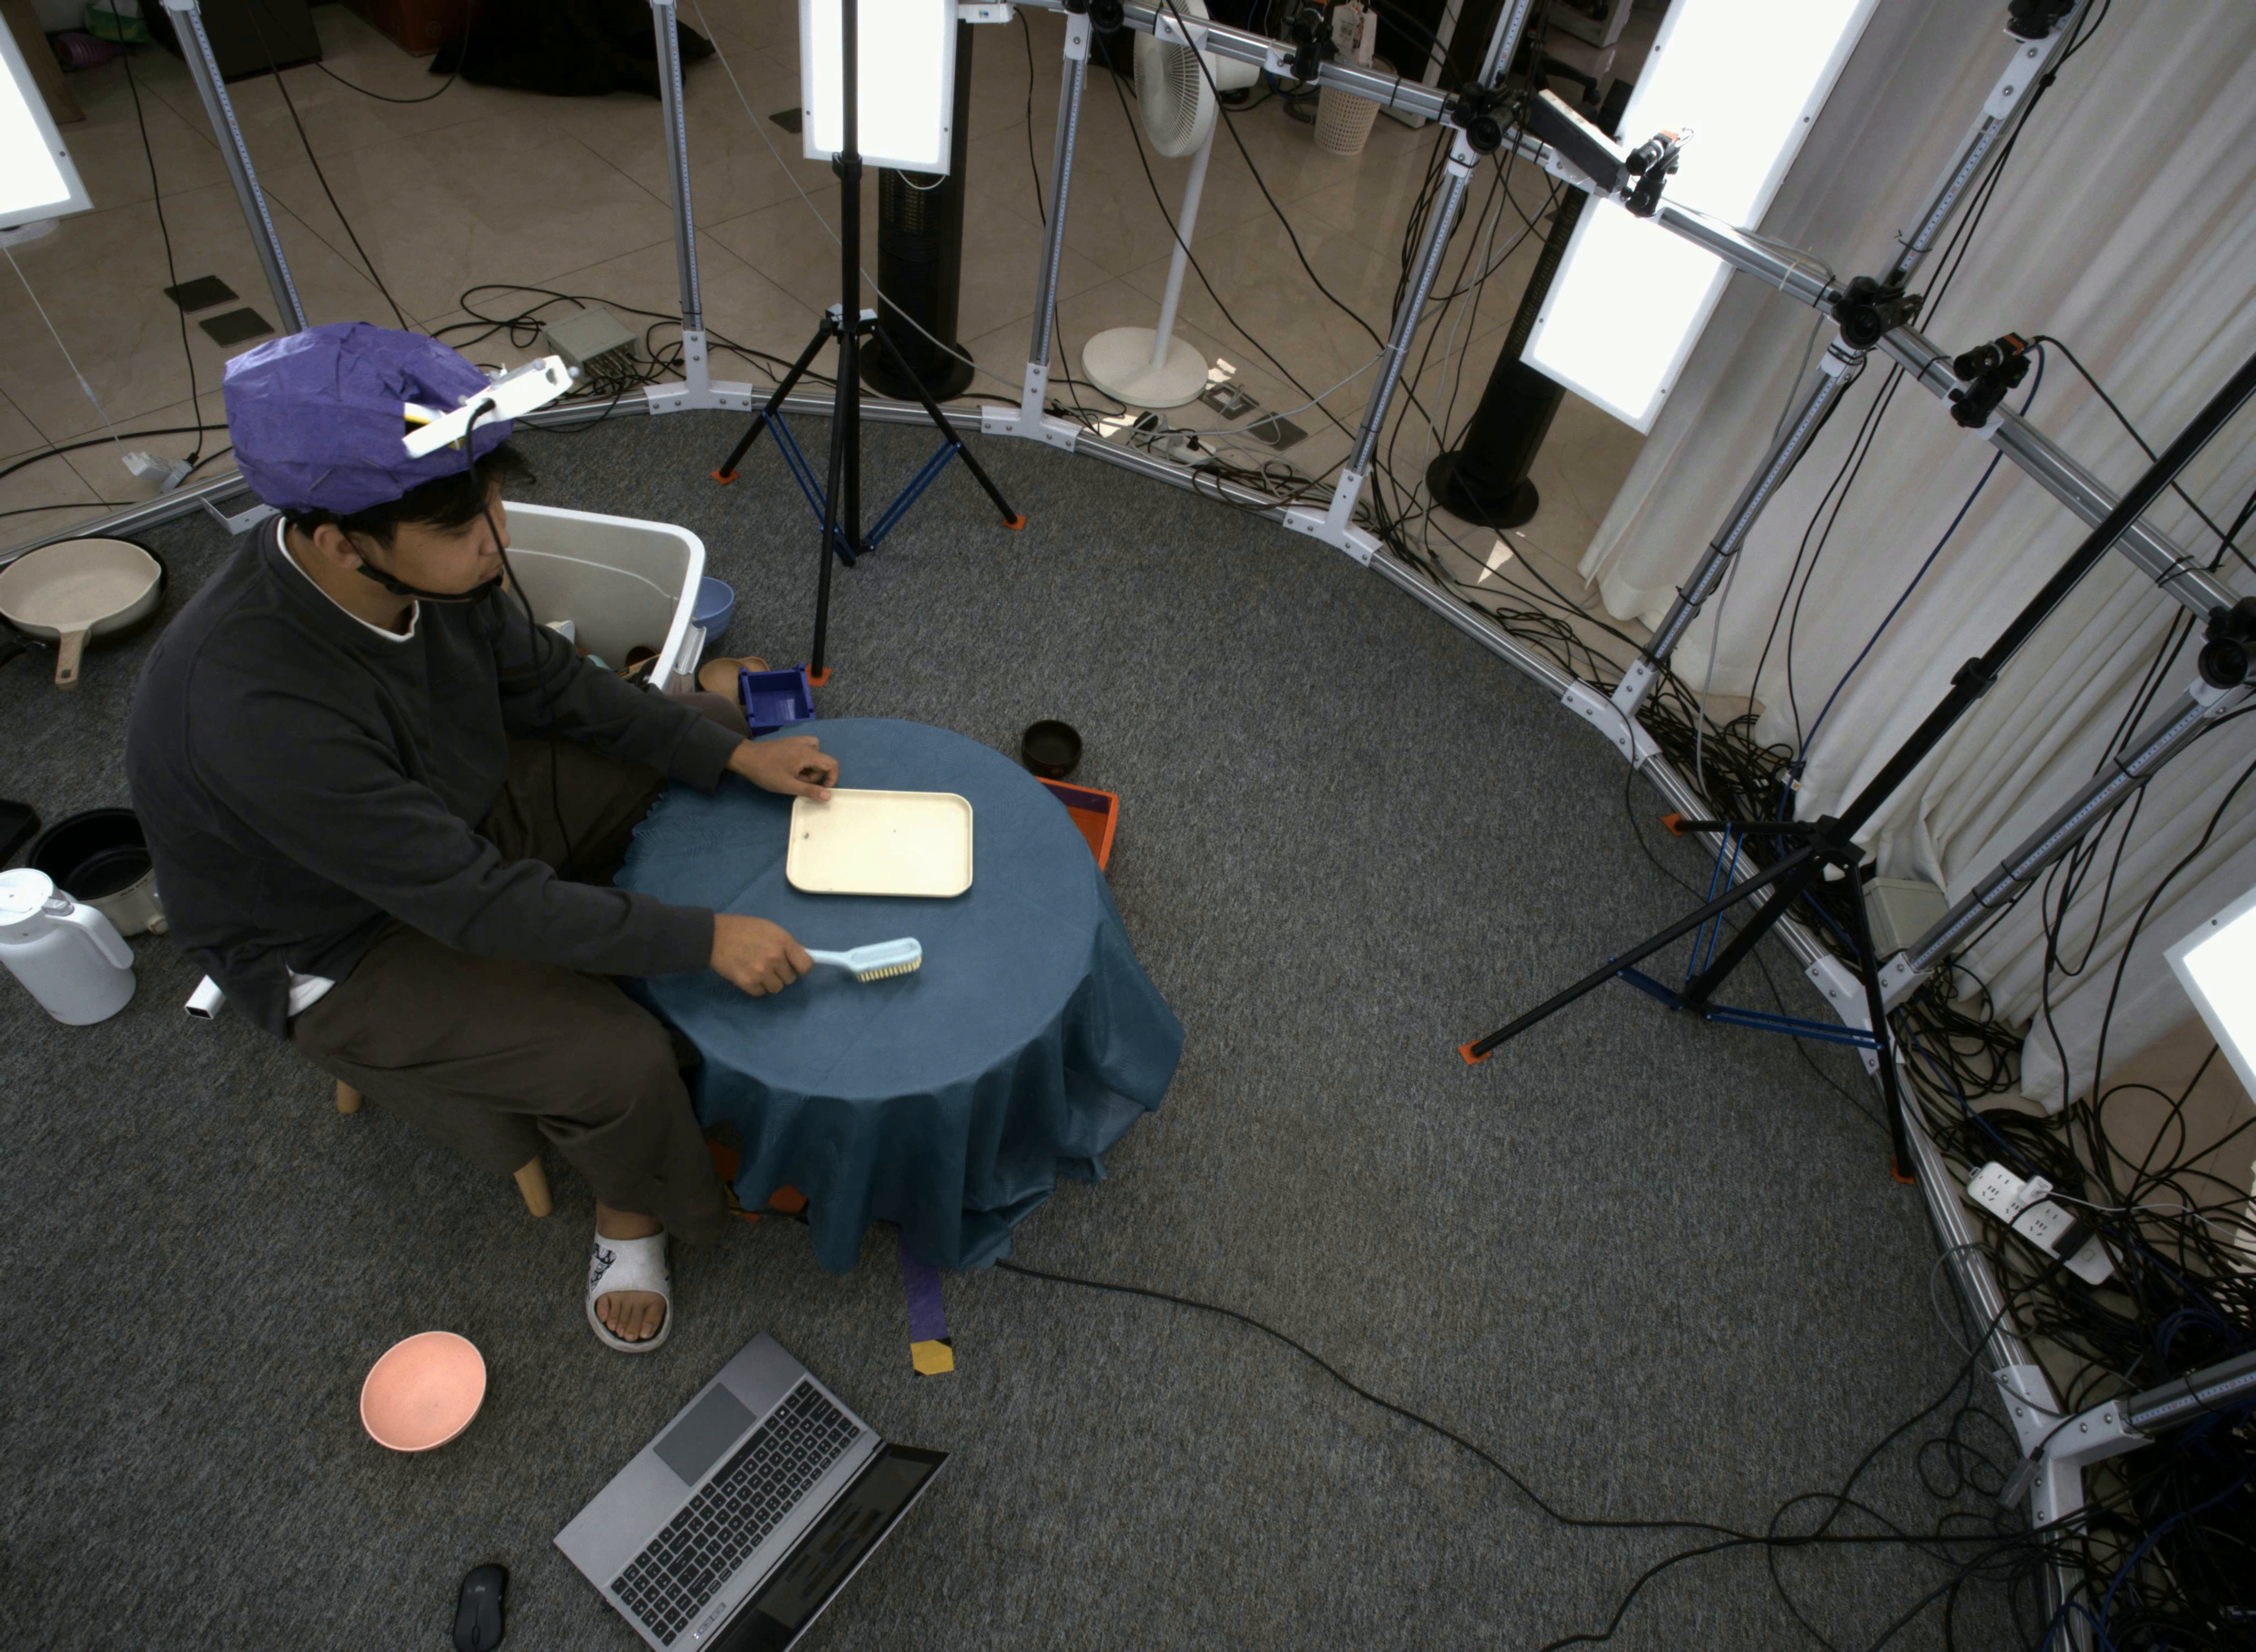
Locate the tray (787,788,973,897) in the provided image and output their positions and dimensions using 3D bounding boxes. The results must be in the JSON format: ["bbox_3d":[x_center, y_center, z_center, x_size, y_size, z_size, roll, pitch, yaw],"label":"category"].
[{"bbox_3d":[-0.324,0.022,1.717,0.239,0.018,0.168,3,53,-12],"label":"tray"}]

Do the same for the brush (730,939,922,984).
[{"bbox_3d":[-0.364,0.168,1.573,0.230,0.051,0.037,-3,46,-19],"label":"brush"}]
